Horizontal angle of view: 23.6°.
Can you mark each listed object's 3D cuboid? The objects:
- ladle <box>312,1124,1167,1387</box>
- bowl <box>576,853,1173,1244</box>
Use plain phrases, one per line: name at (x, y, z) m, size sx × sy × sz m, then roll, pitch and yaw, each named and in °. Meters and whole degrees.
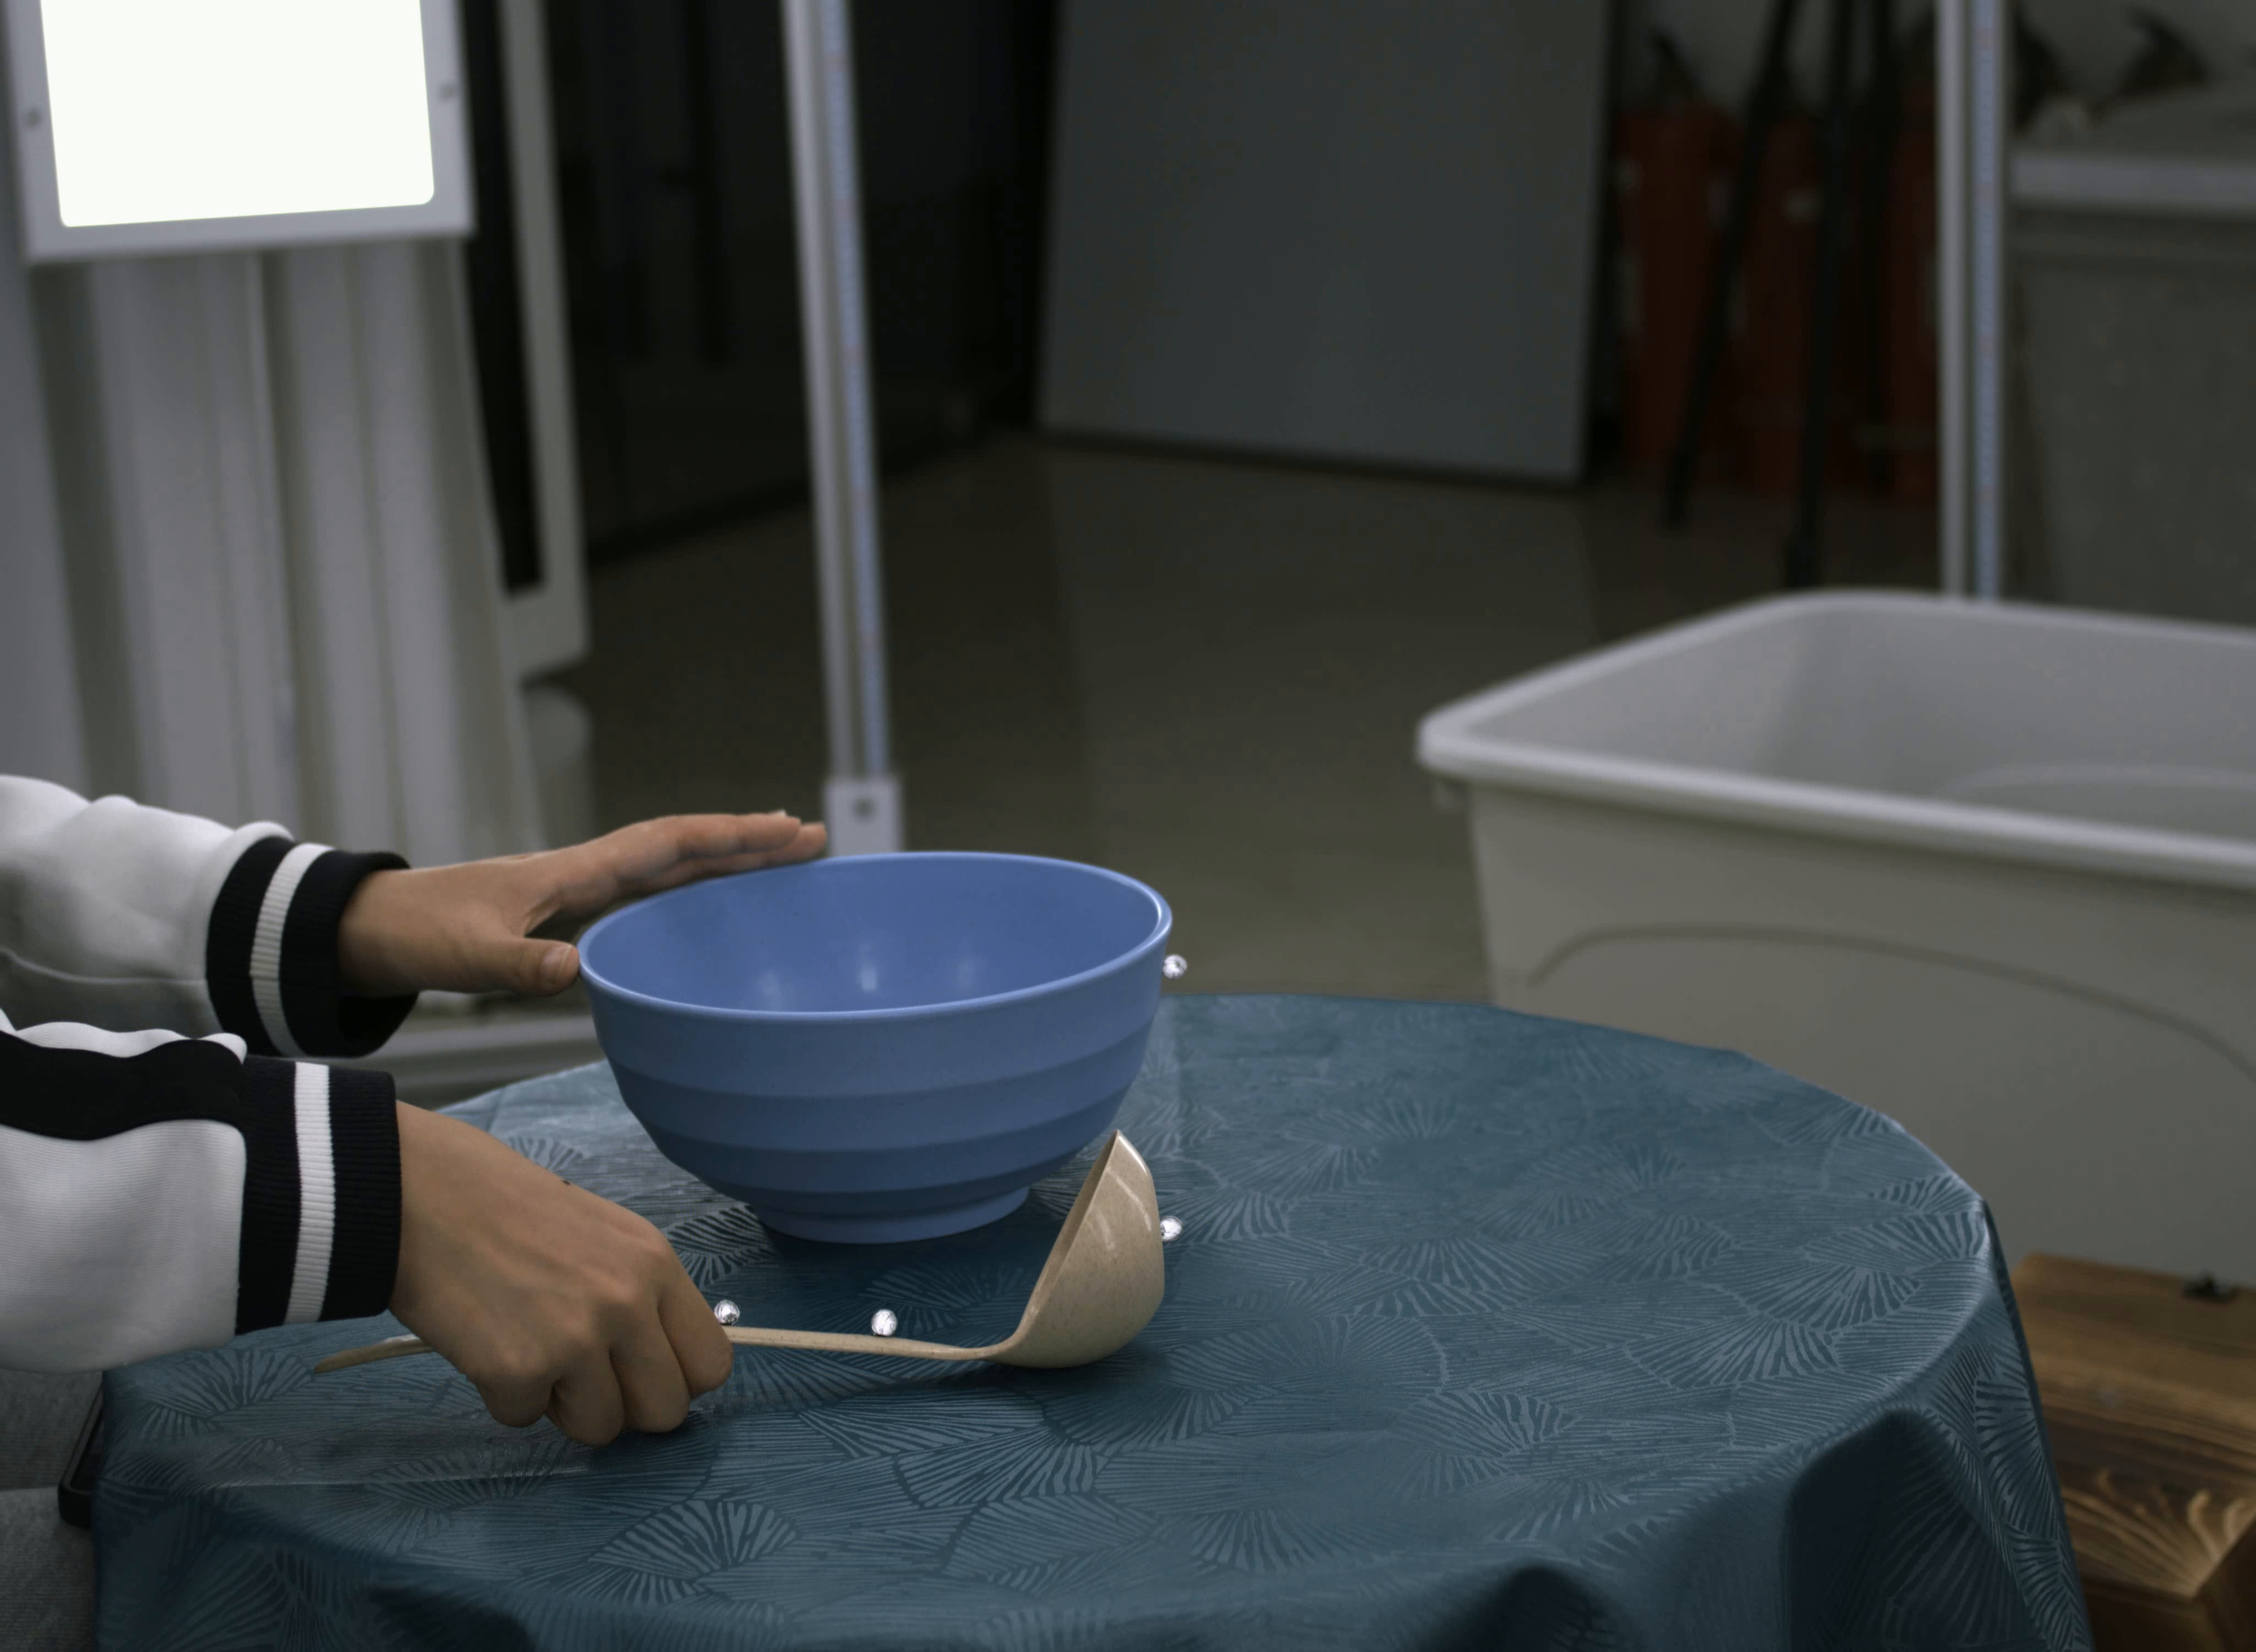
ladle at (-0.114, 0.126, 1.596) m, size 0.250 × 0.074 × 0.072 m, roll 0°, pitch -4°, yaw -6°
bowl at (-0.081, 0.078, 1.767) m, size 0.194 × 0.096 × 0.197 m, roll -1°, pitch 13°, yaw -1°
